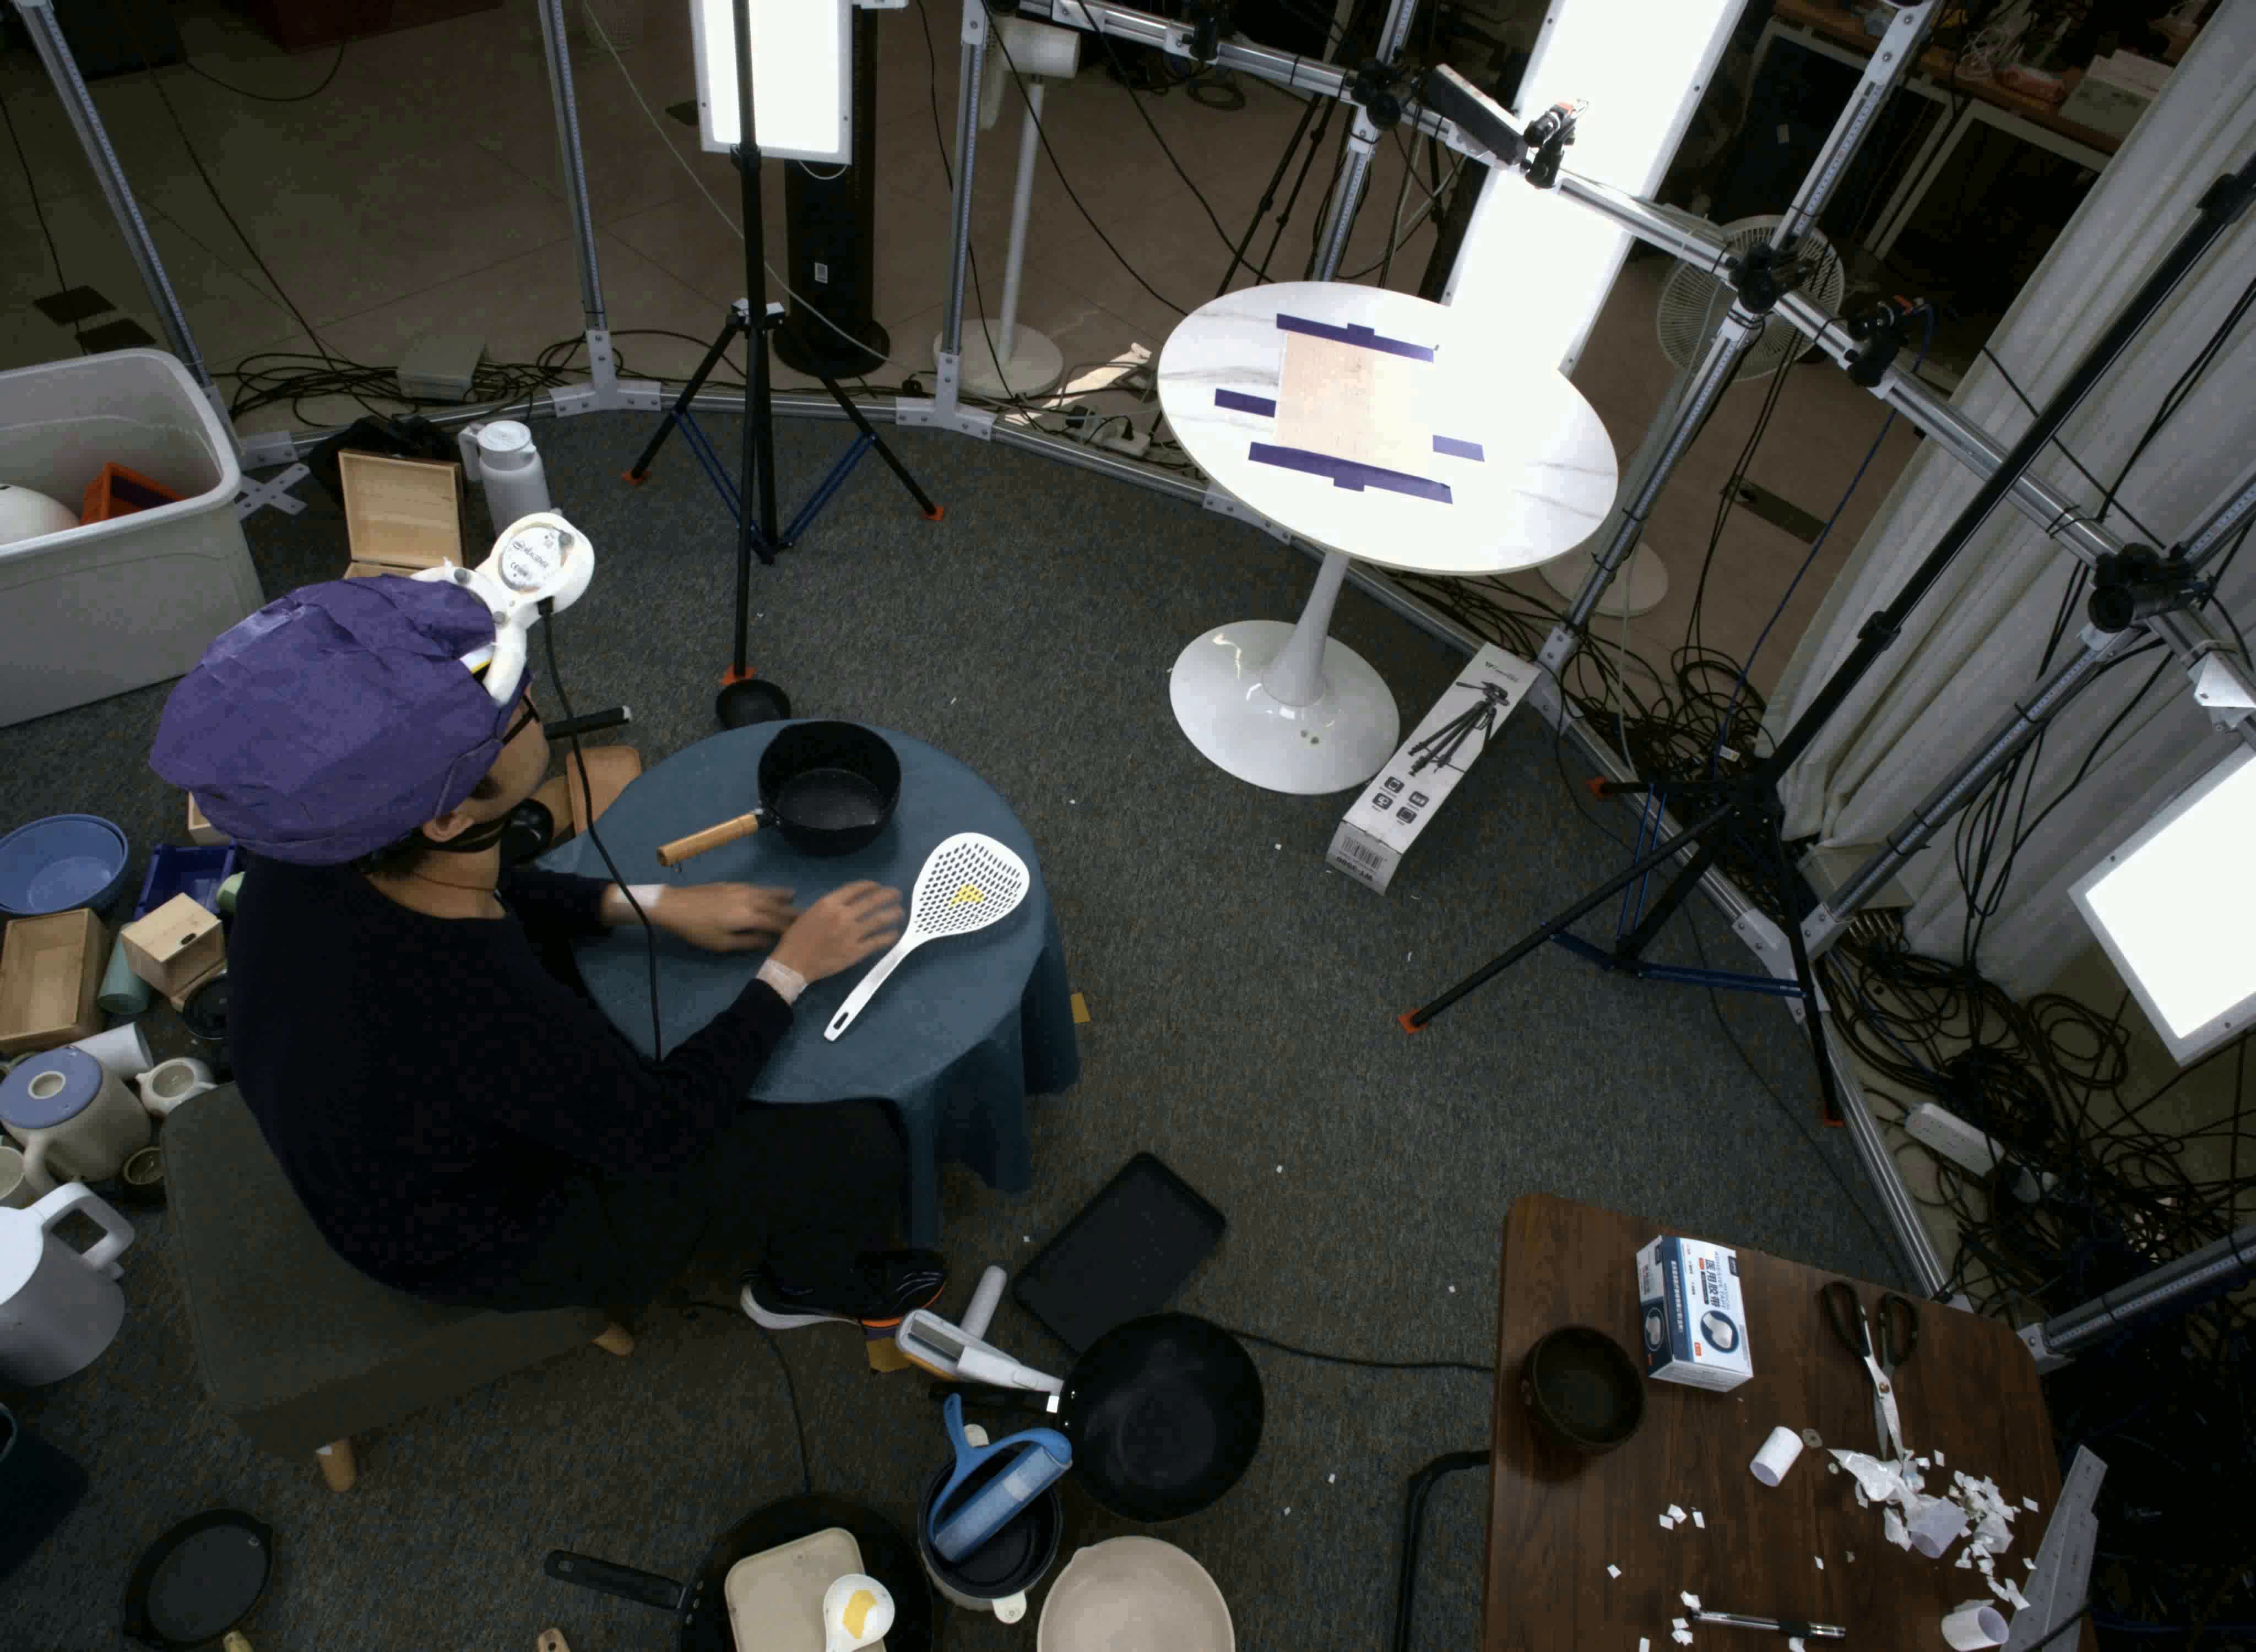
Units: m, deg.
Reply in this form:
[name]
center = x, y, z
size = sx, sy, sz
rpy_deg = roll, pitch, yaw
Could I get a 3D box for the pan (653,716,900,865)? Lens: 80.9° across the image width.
[pan]
center = -0.446, -0.014, 1.649
size = 0.203, 0.110, 0.344
rpy_deg = 43, 54, 17

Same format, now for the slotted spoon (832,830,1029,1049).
[slotted spoon]
center = -0.259, 0.138, 1.627
size = 0.134, 0.051, 0.347
rpy_deg = 34, 51, 10
